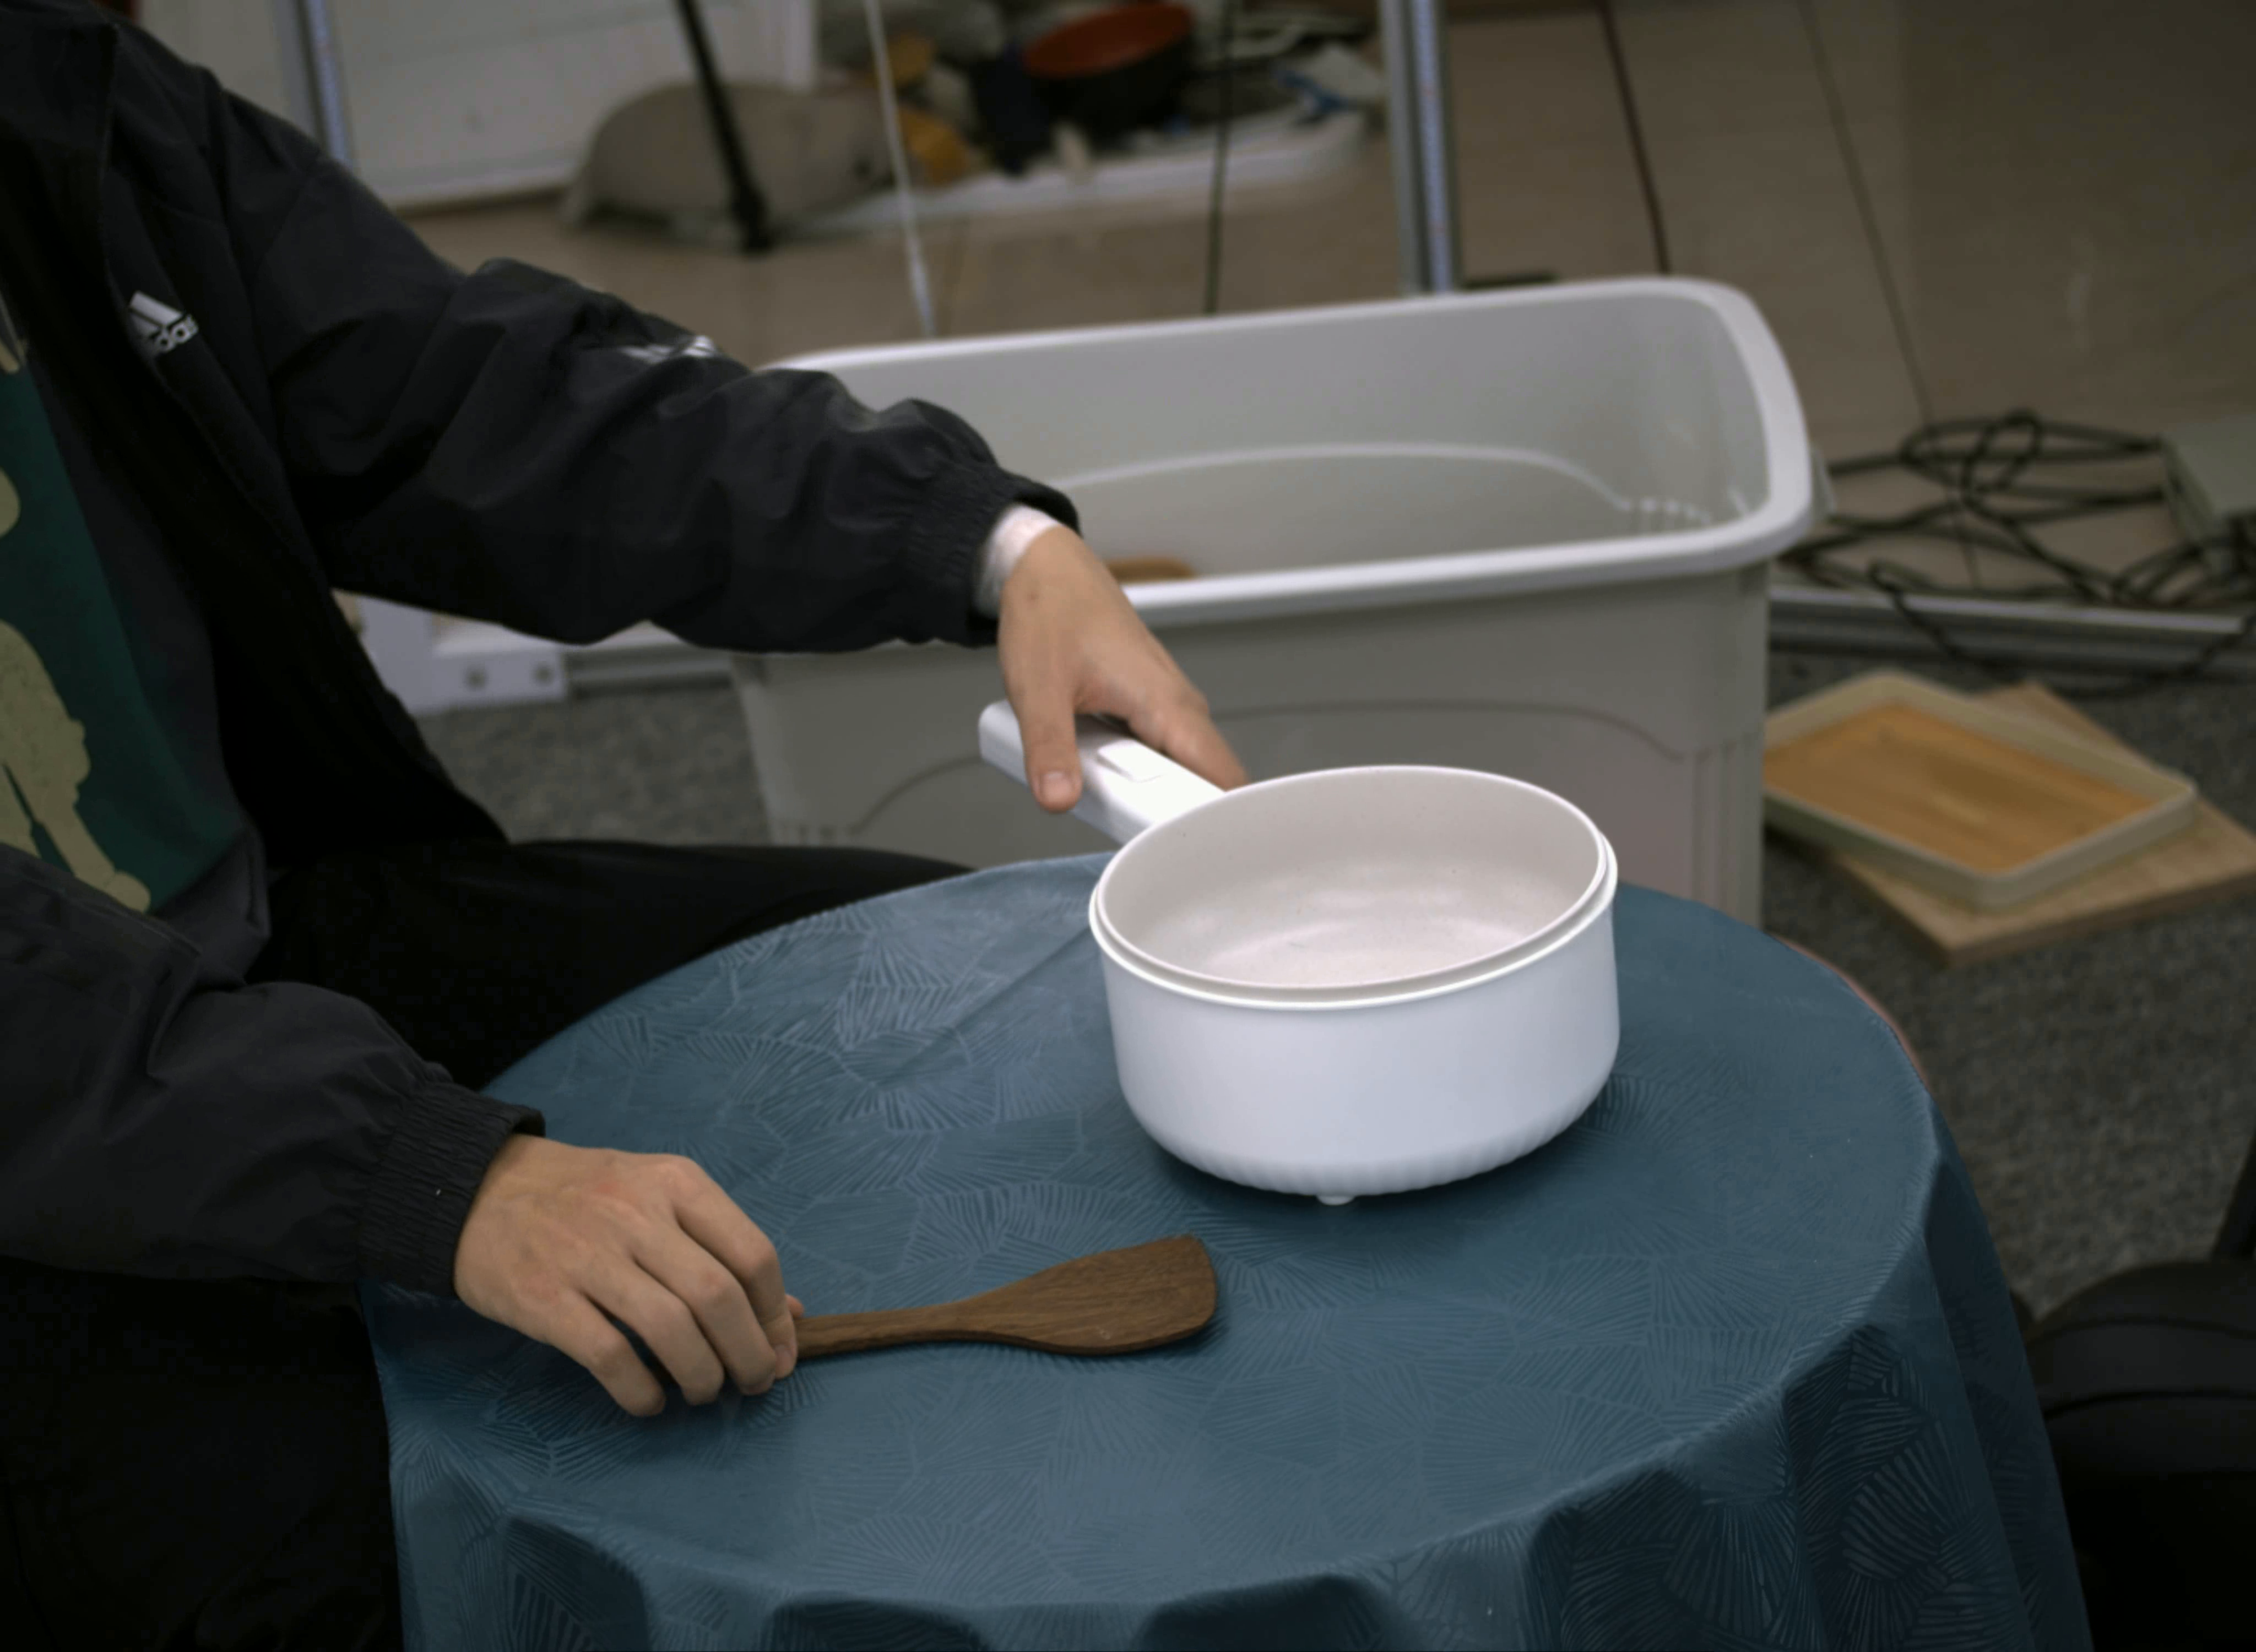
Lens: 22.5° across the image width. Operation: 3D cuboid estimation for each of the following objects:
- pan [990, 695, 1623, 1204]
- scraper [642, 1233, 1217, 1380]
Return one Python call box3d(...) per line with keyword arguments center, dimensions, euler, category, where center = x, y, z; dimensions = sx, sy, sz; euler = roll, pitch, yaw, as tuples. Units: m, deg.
box3d(center=(0.051, 0.042, 2.229), dimensions=(0.200, 0.103, 0.351), euler=(-21, 27, -26), category="pan")
box3d(center=(-0.072, 0.181, 2.064), dimensions=(0.211, 0.011, 0.075), euler=(-8, 23, -1), category="scraper")
